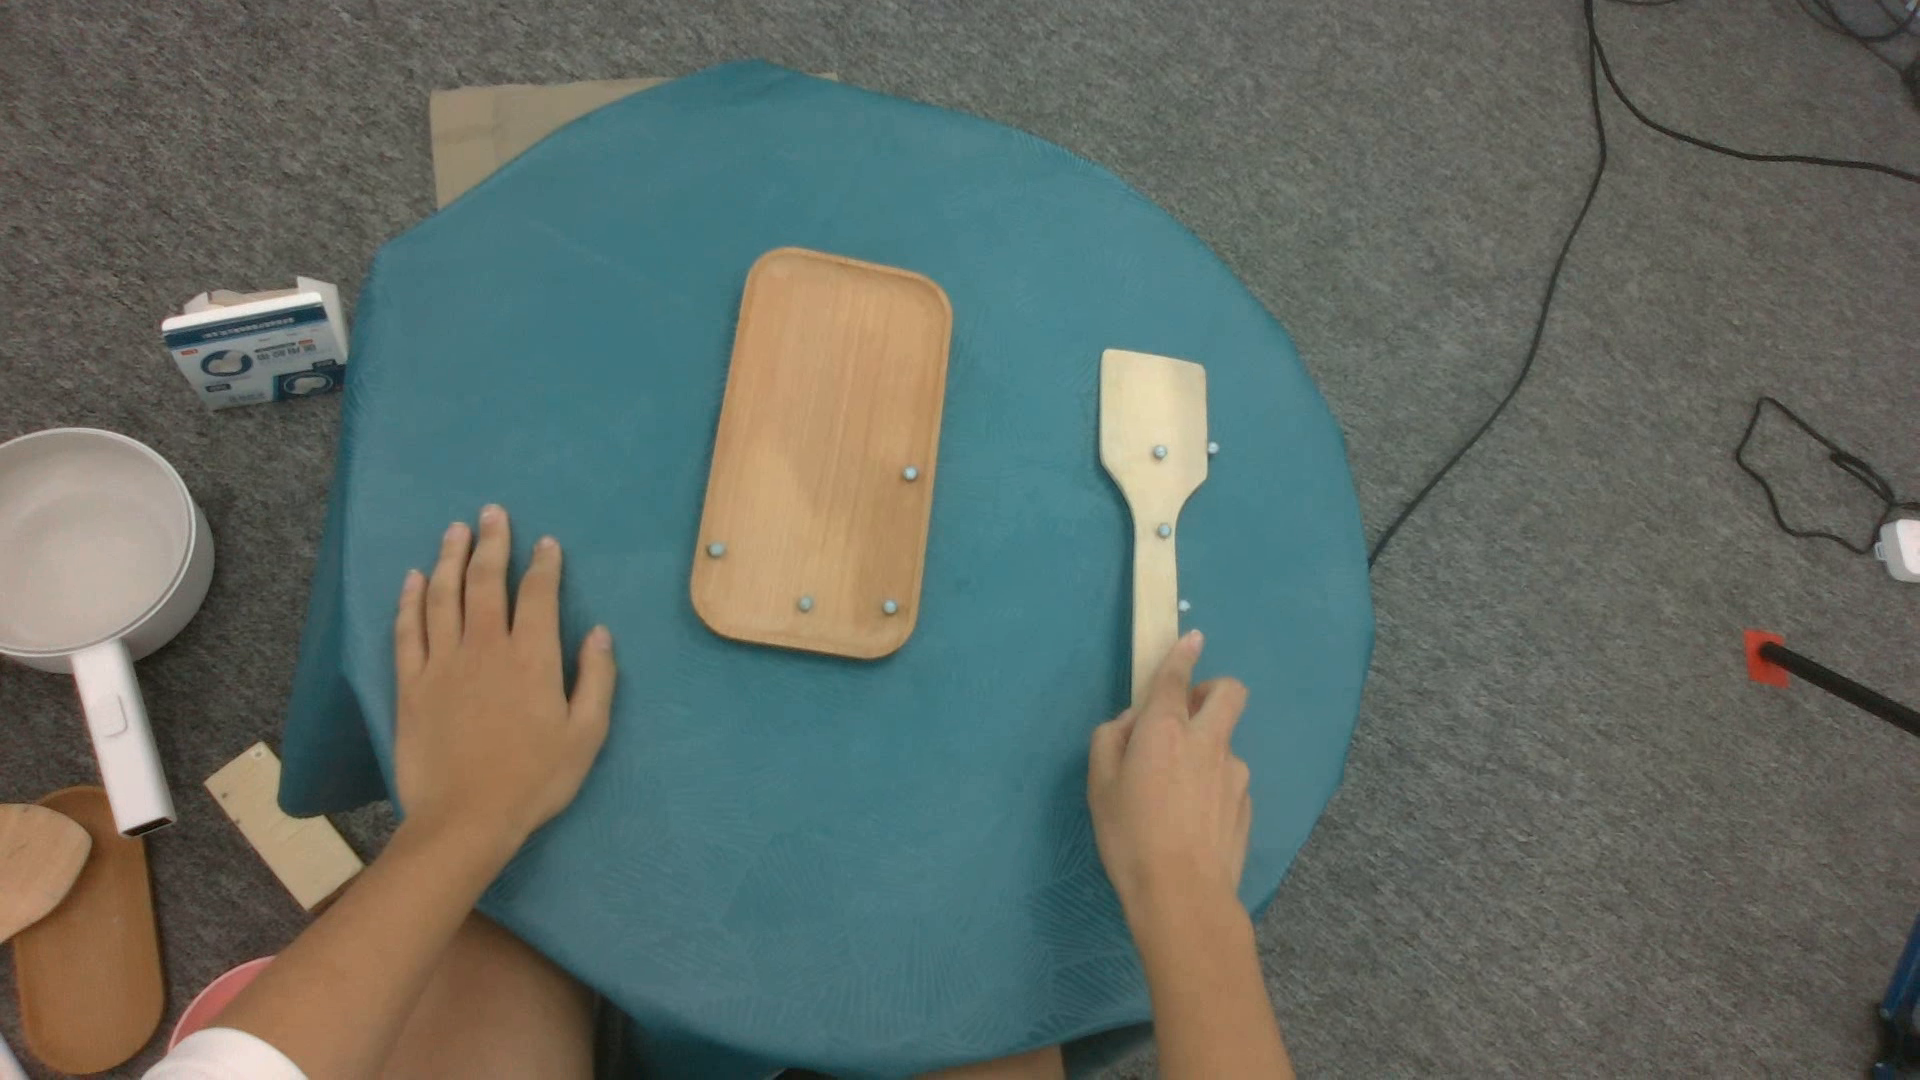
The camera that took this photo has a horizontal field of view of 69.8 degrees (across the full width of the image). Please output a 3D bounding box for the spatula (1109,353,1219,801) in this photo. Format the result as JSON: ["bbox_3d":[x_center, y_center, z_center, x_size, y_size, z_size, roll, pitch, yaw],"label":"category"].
[{"bbox_3d":[0.124,0.014,0.823,0.072,0.010,0.294,8,62,-9],"label":"spatula"}]

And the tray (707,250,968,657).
[{"bbox_3d":[-0.069,-0.055,0.817,0.130,0.023,0.251,11,68,-10],"label":"tray"}]
